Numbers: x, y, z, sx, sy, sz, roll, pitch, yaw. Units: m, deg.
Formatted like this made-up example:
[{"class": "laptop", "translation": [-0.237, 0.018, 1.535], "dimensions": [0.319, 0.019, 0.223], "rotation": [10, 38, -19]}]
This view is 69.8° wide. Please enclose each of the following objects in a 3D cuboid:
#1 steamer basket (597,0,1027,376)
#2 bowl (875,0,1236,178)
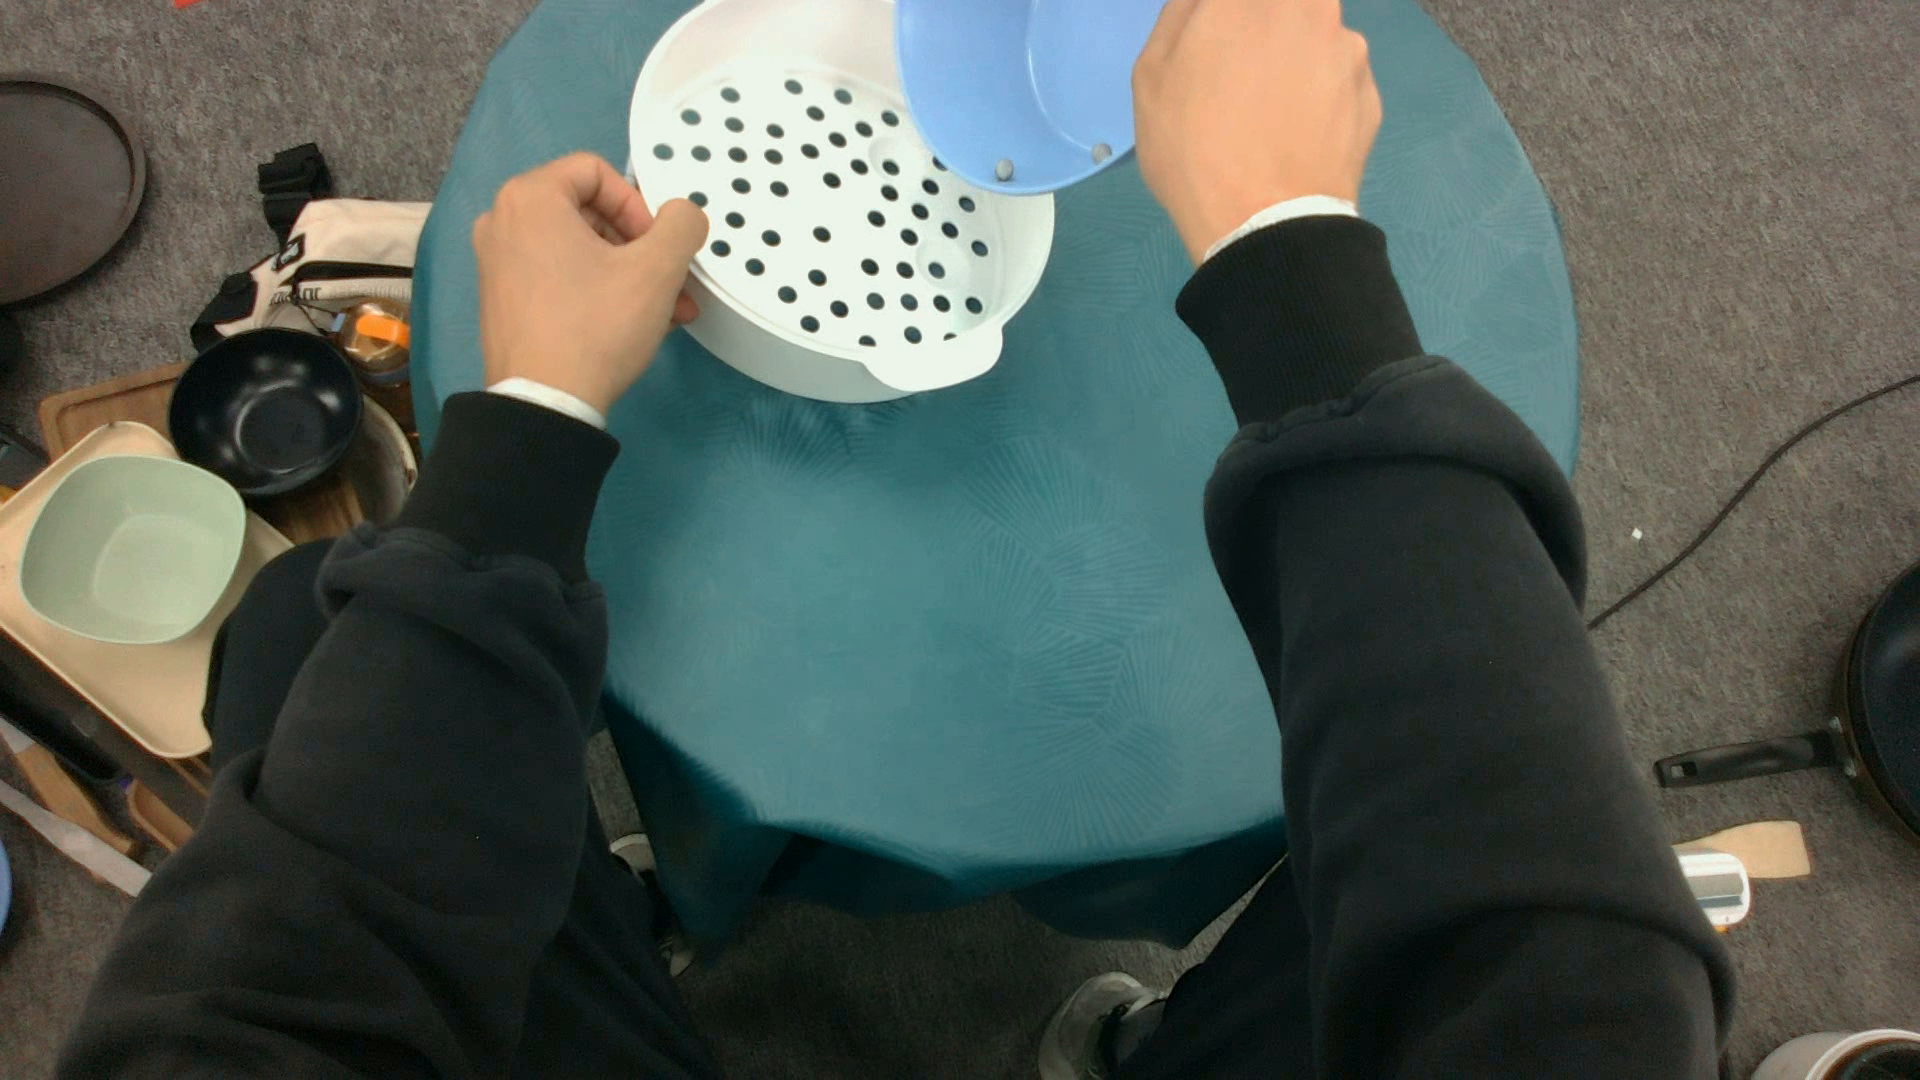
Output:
[{"class": "steamer basket", "translation": [-0.072, -0.174, 0.658], "dimensions": [0.202, 0.069, 0.231], "rotation": [-19, 75, -28]}, {"class": "bowl", "translation": [0.050, -0.235, 0.578], "dimensions": [0.070, 0.175, 0.176], "rotation": [1, 66, -50]}]
